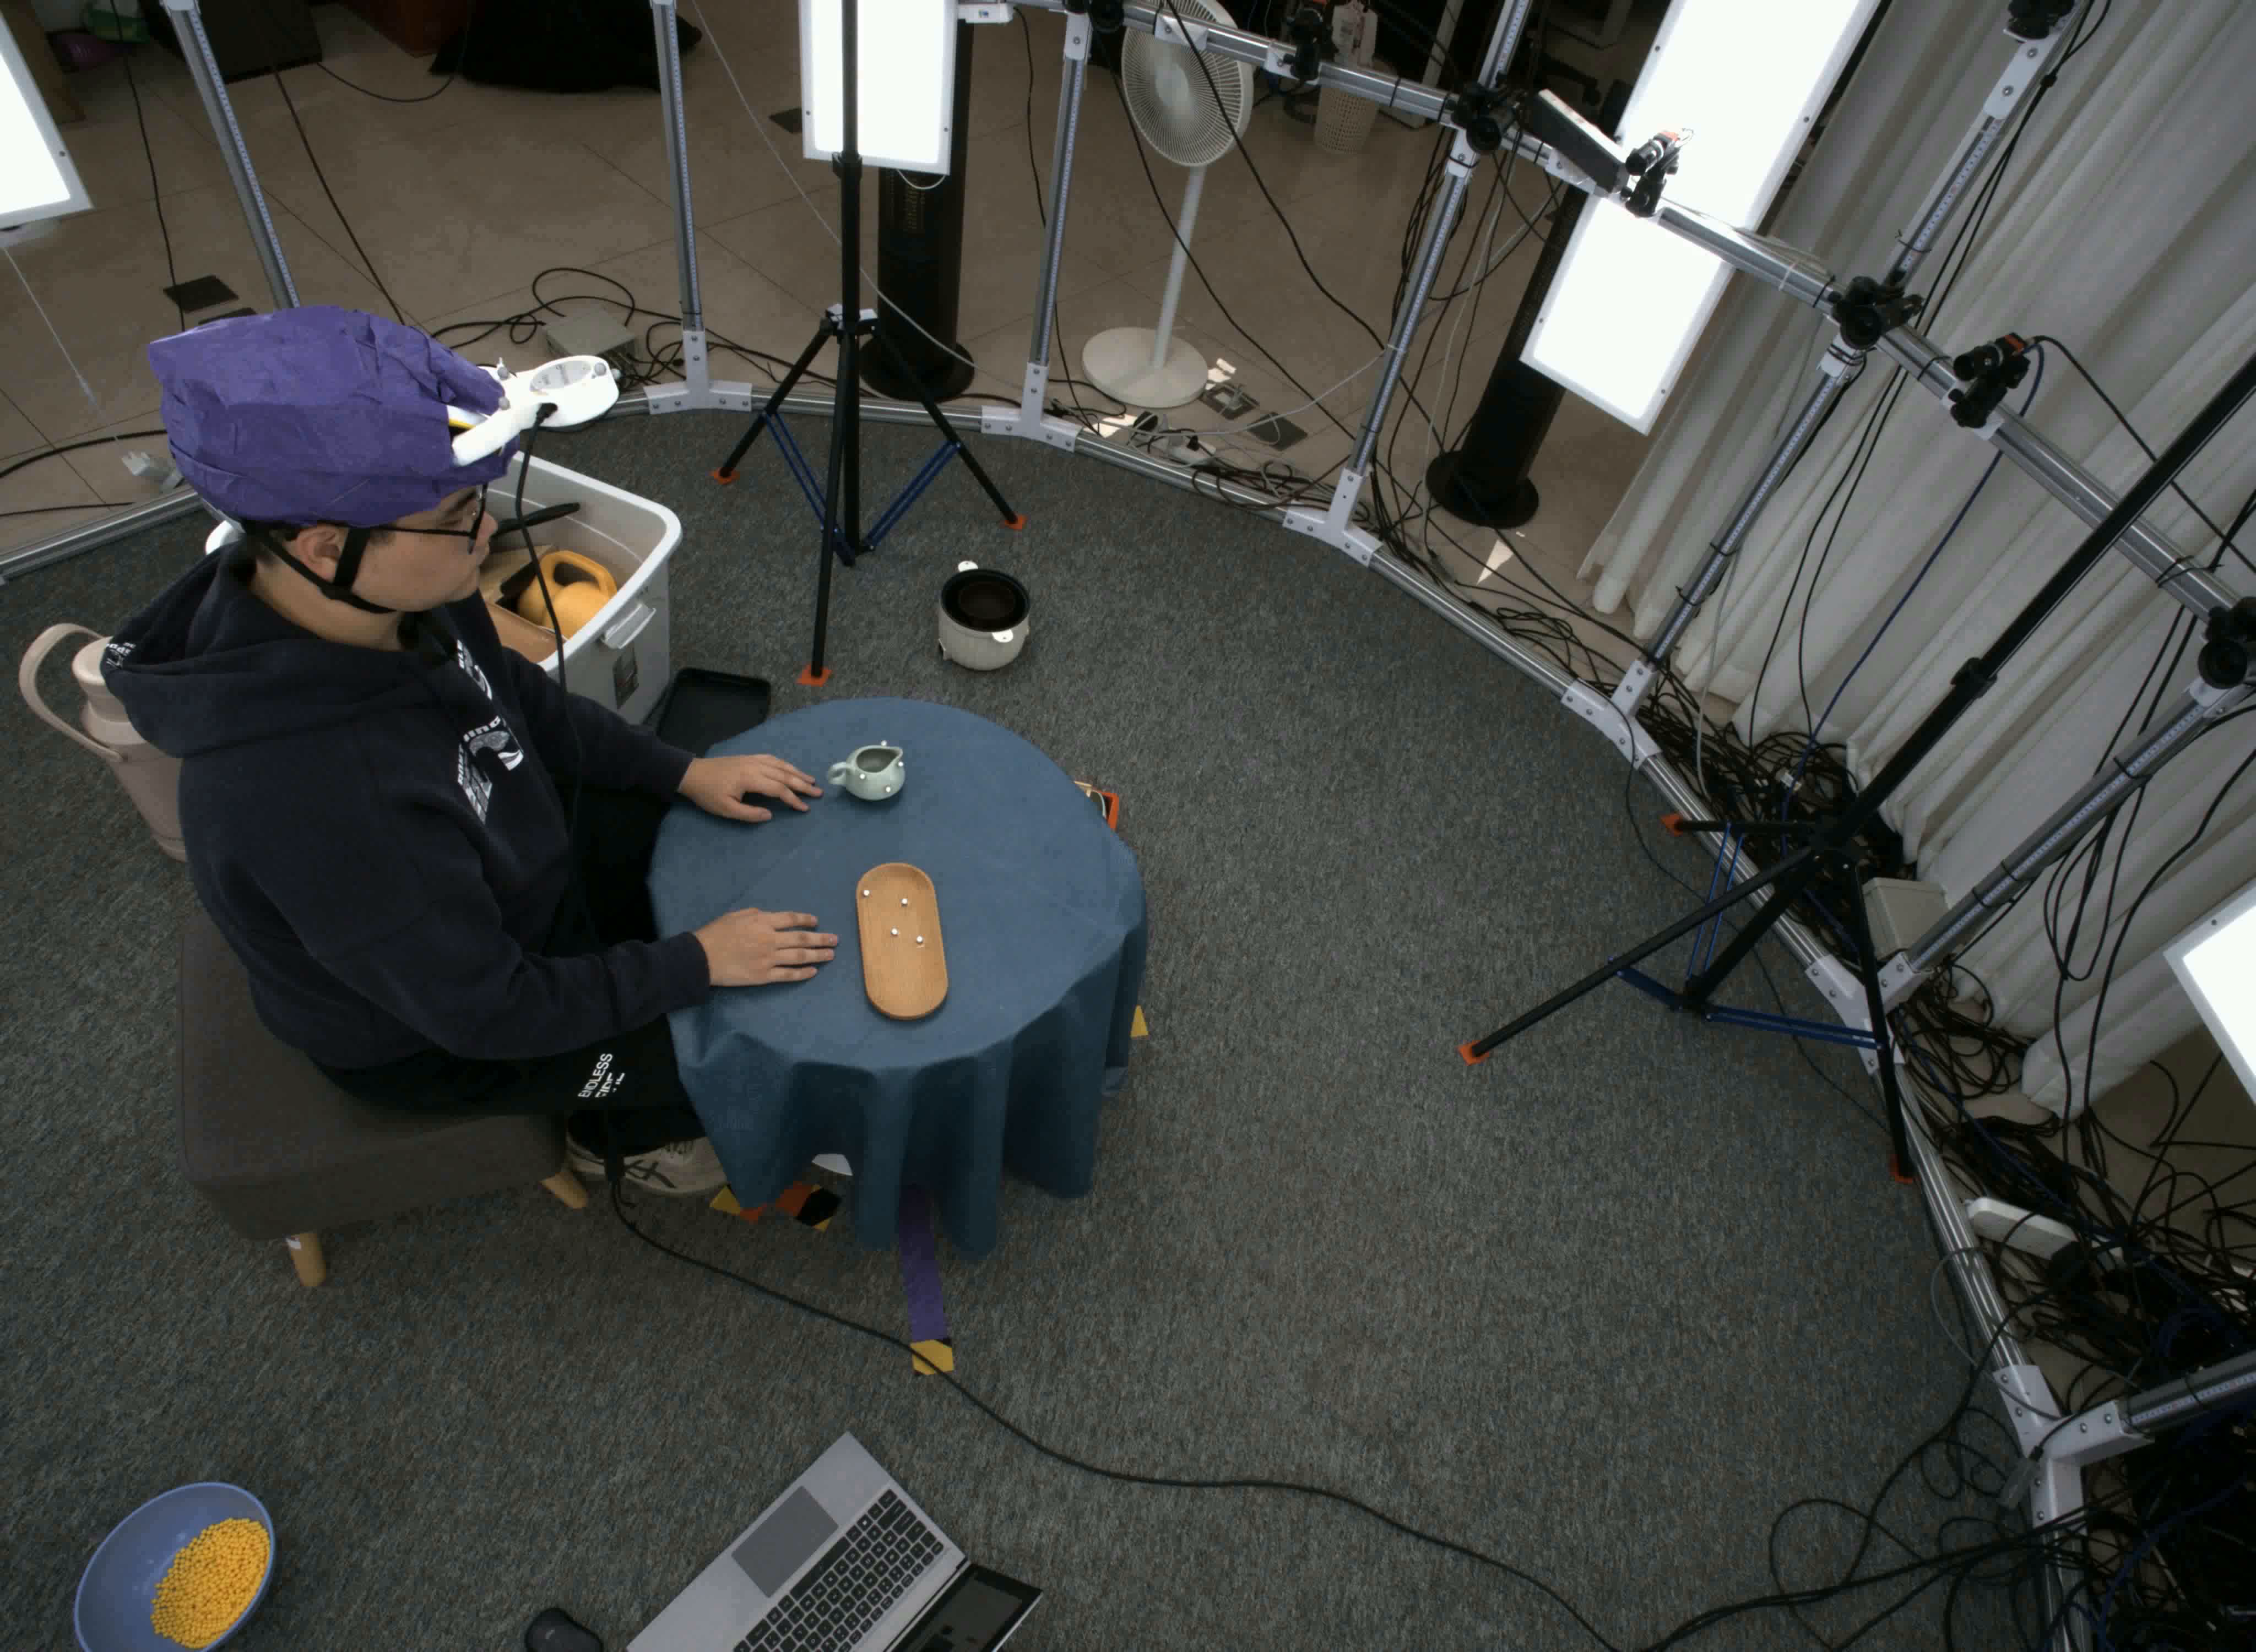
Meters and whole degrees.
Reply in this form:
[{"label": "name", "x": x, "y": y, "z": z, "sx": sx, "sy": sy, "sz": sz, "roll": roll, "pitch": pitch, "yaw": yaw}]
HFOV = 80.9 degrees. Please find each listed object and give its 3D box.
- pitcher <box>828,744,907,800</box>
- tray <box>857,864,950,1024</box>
[{"label": "pitcher", "x": -0.354, "y": -0.073, "z": 1.757, "sx": 0.108, "sy": 0.062, "sz": 0.084, "roll": -20, "pitch": 59, "yaw": -23}, {"label": "tray", "x": -0.284, "y": 0.144, "z": 1.637, "sx": 0.102, "sy": 0.021, "sz": 0.226, "roll": -4, "pitch": 57, "yaw": -16}]
